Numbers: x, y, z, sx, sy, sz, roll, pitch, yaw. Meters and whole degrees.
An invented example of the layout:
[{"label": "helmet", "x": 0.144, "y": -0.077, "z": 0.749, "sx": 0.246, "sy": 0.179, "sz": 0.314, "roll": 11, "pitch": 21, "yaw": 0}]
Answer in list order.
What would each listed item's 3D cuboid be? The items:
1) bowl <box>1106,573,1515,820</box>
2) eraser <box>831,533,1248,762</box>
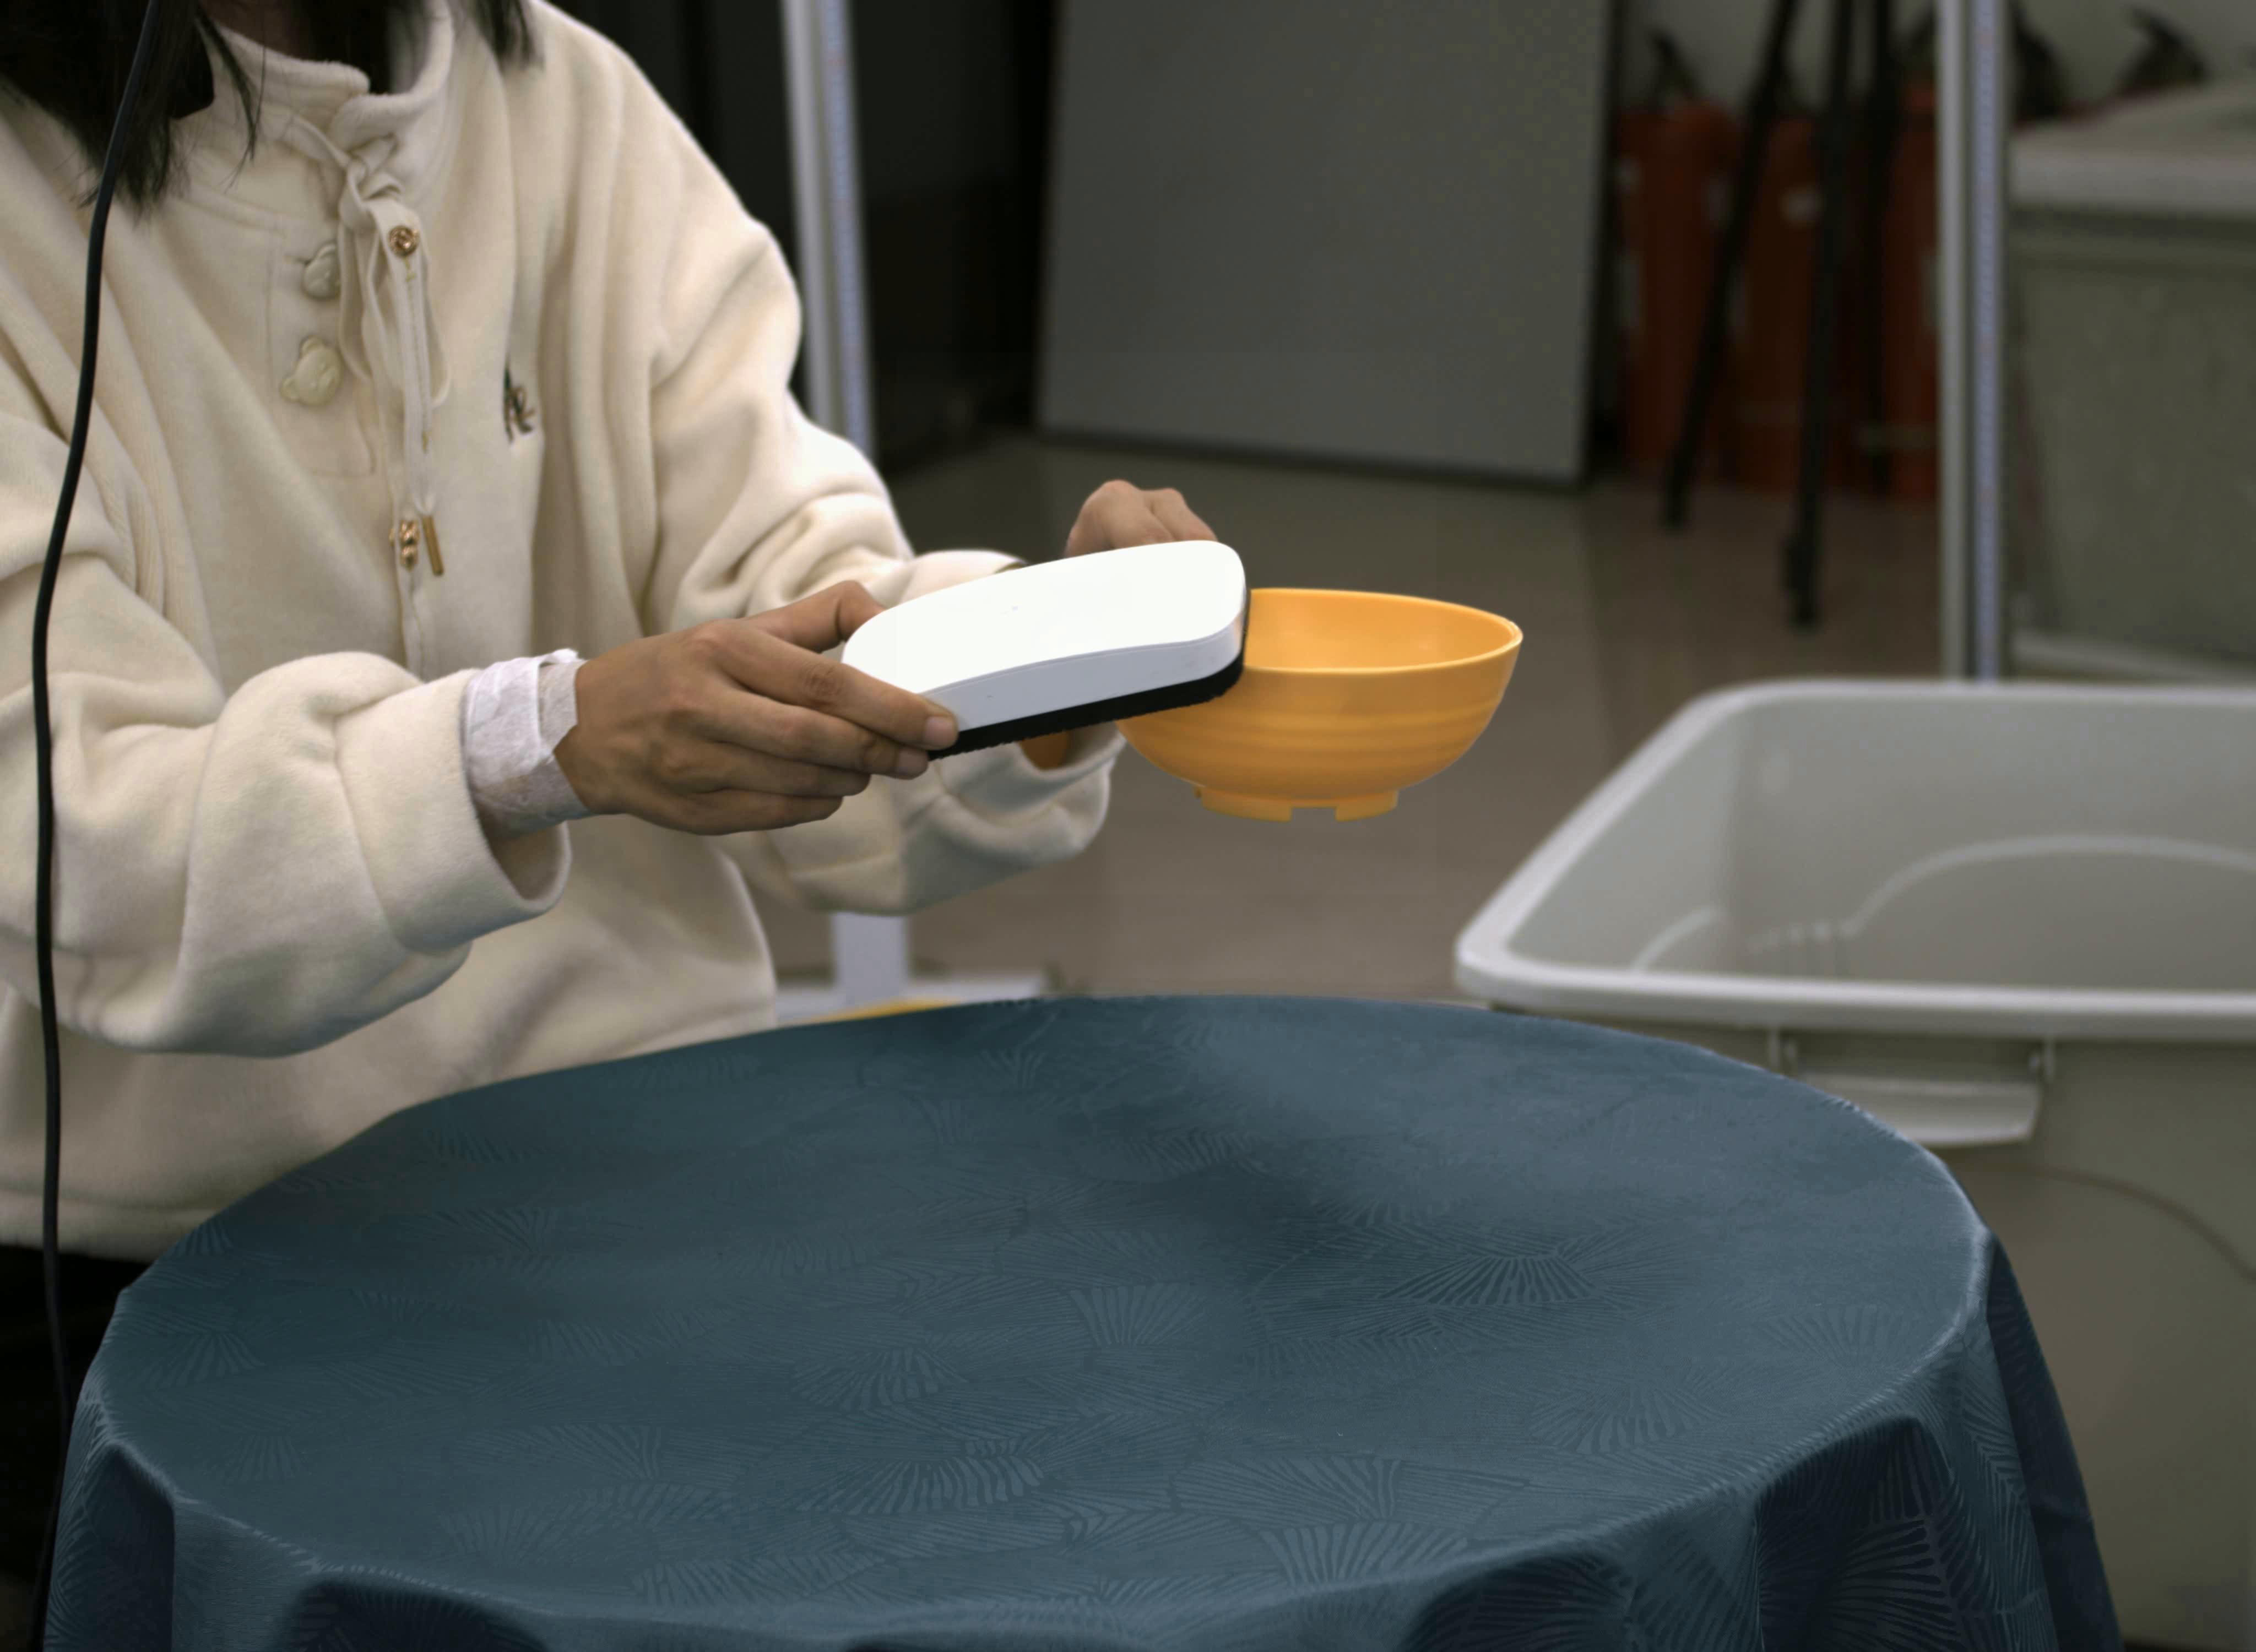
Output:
[{"label": "bowl", "x": 0.052, "y": -0.038, "z": 1.735, "sx": 0.143, "sy": 0.061, "sz": 0.145, "roll": 2, "pitch": 13, "yaw": -1}, {"label": "eraser", "x": -0.027, "y": -0.058, "z": 1.670, "sx": 0.131, "sy": 0.034, "sz": 0.063, "roll": -12, "pitch": 30, "yaw": 14}]
